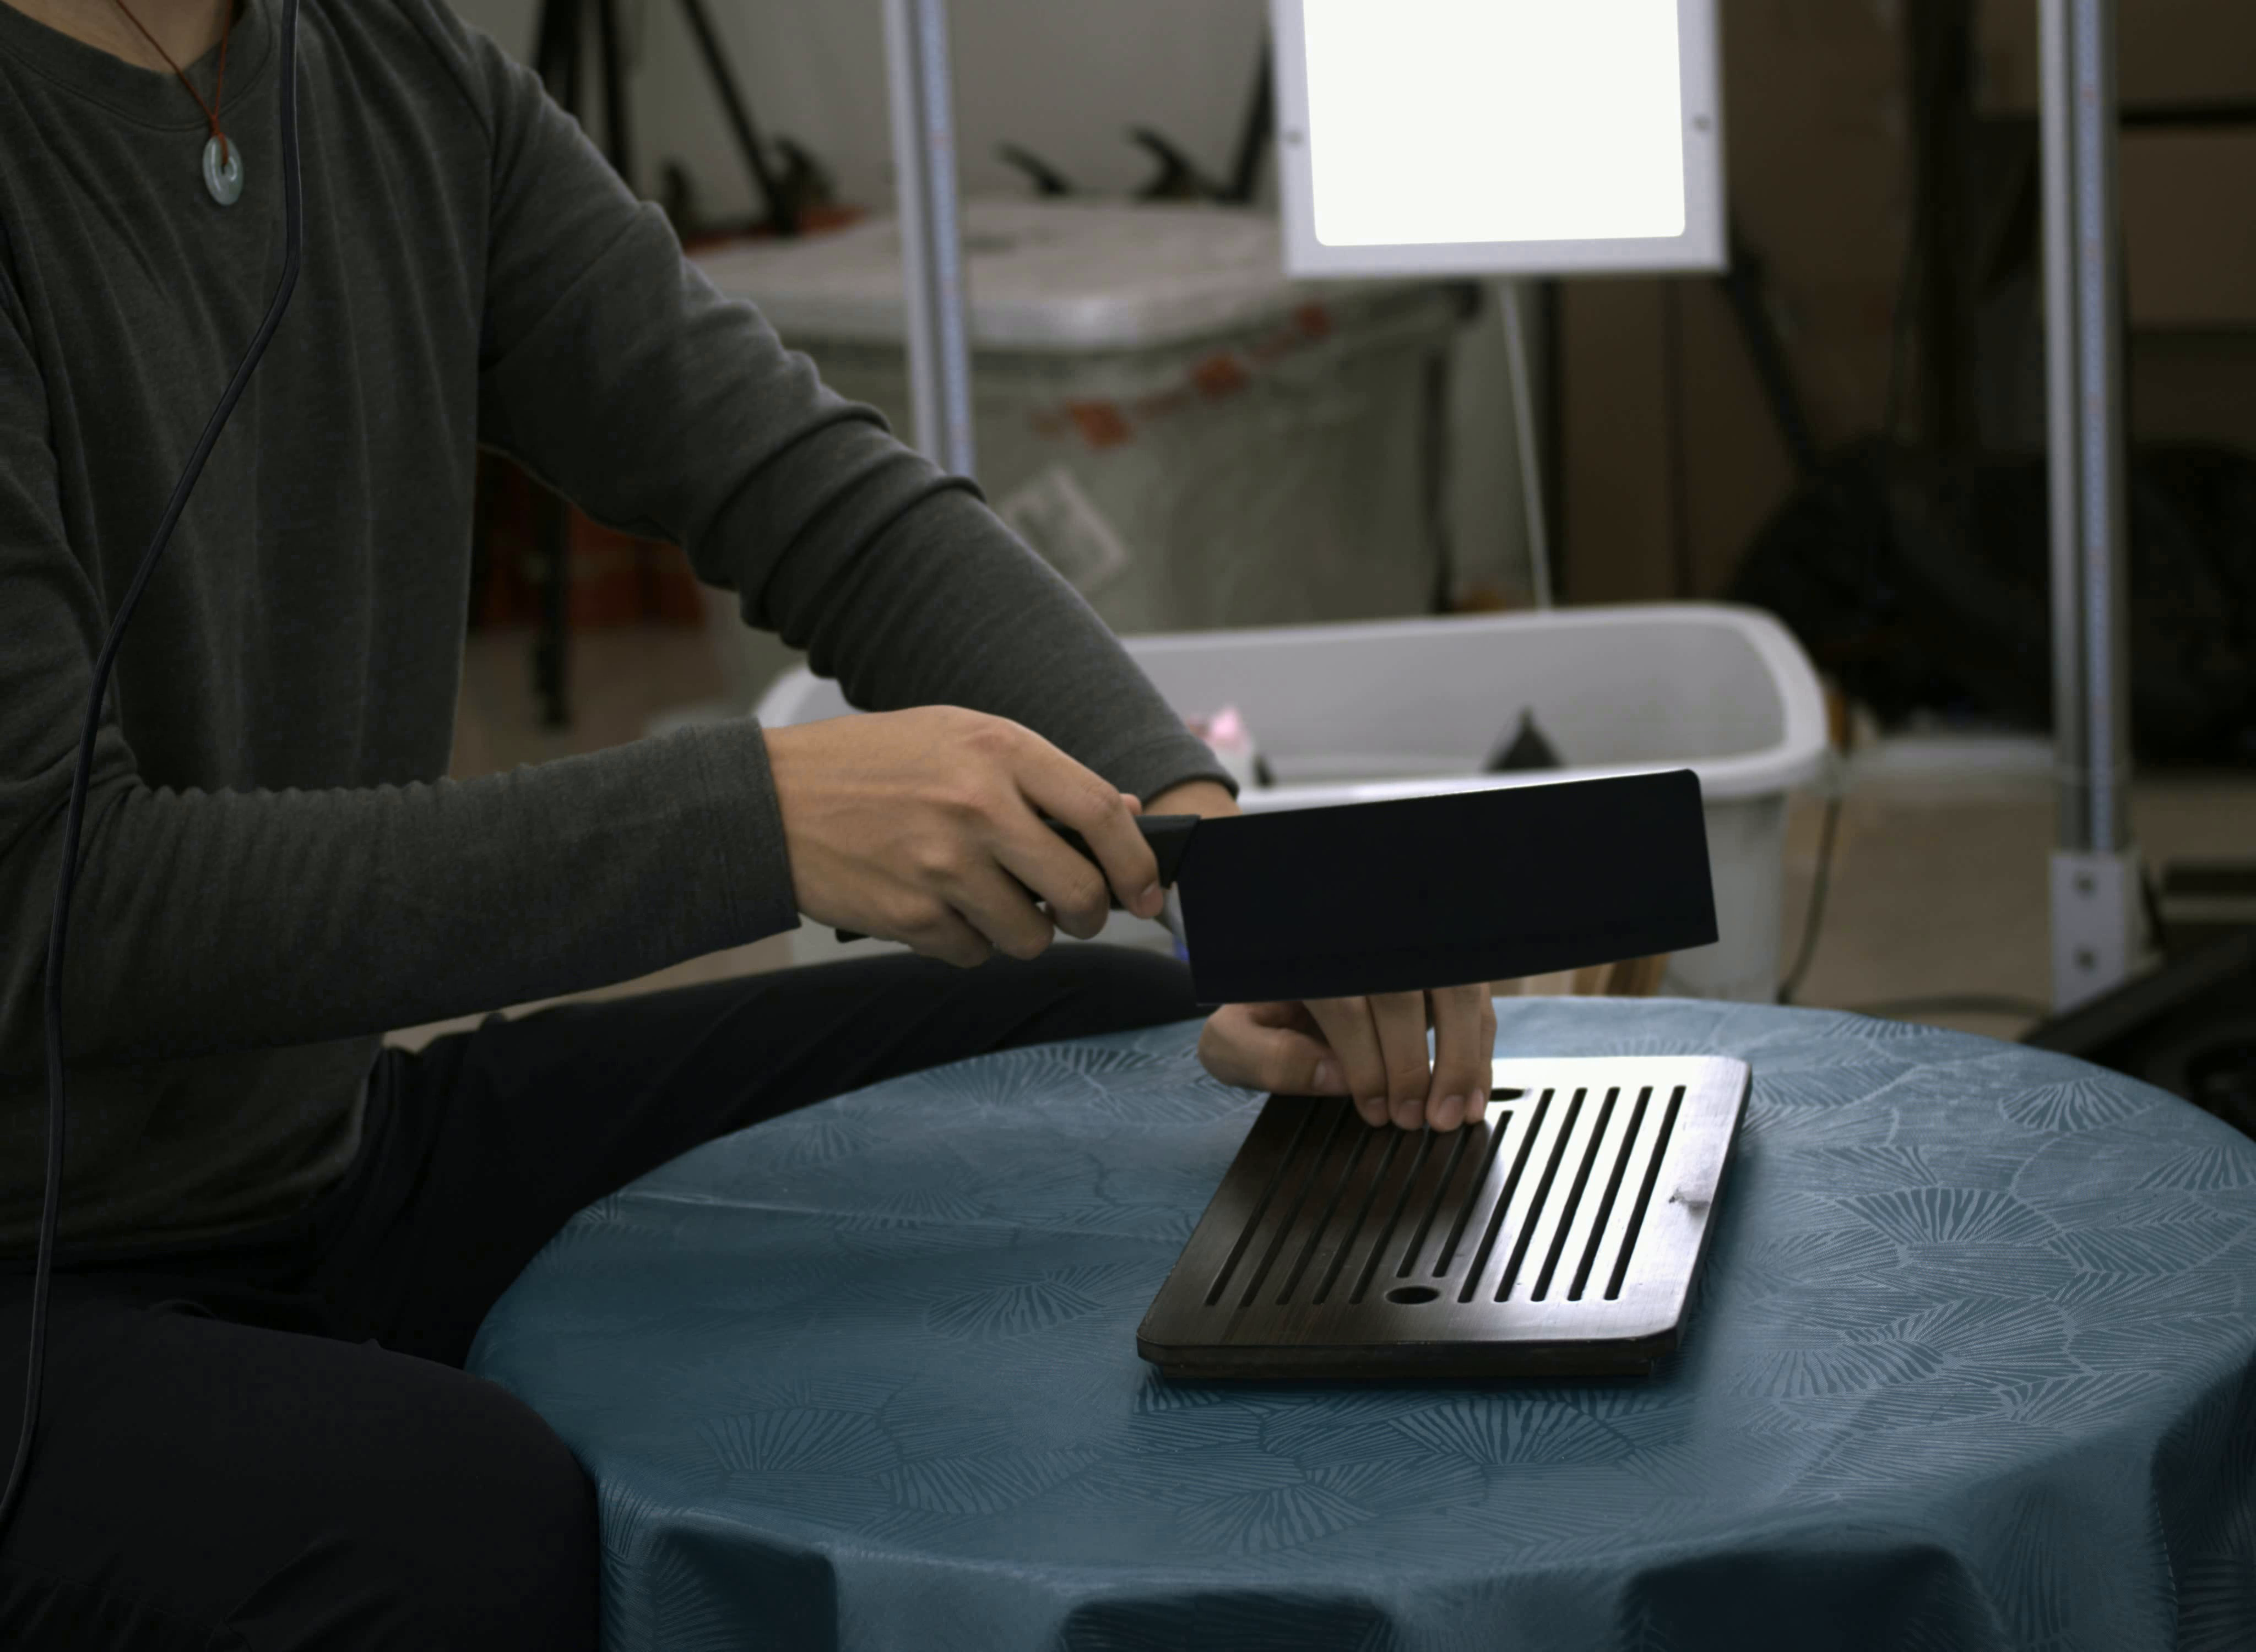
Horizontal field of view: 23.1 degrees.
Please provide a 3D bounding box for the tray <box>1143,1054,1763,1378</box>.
[{"bbox_3d":[0.115,0.127,1.819,0.171,0.019,0.302,-3,13,13],"label":"tray"}]

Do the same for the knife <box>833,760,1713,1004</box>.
[{"bbox_3d":[0.046,0.022,1.849,0.305,0.081,0.020,-2,13,15],"label":"knife"}]
